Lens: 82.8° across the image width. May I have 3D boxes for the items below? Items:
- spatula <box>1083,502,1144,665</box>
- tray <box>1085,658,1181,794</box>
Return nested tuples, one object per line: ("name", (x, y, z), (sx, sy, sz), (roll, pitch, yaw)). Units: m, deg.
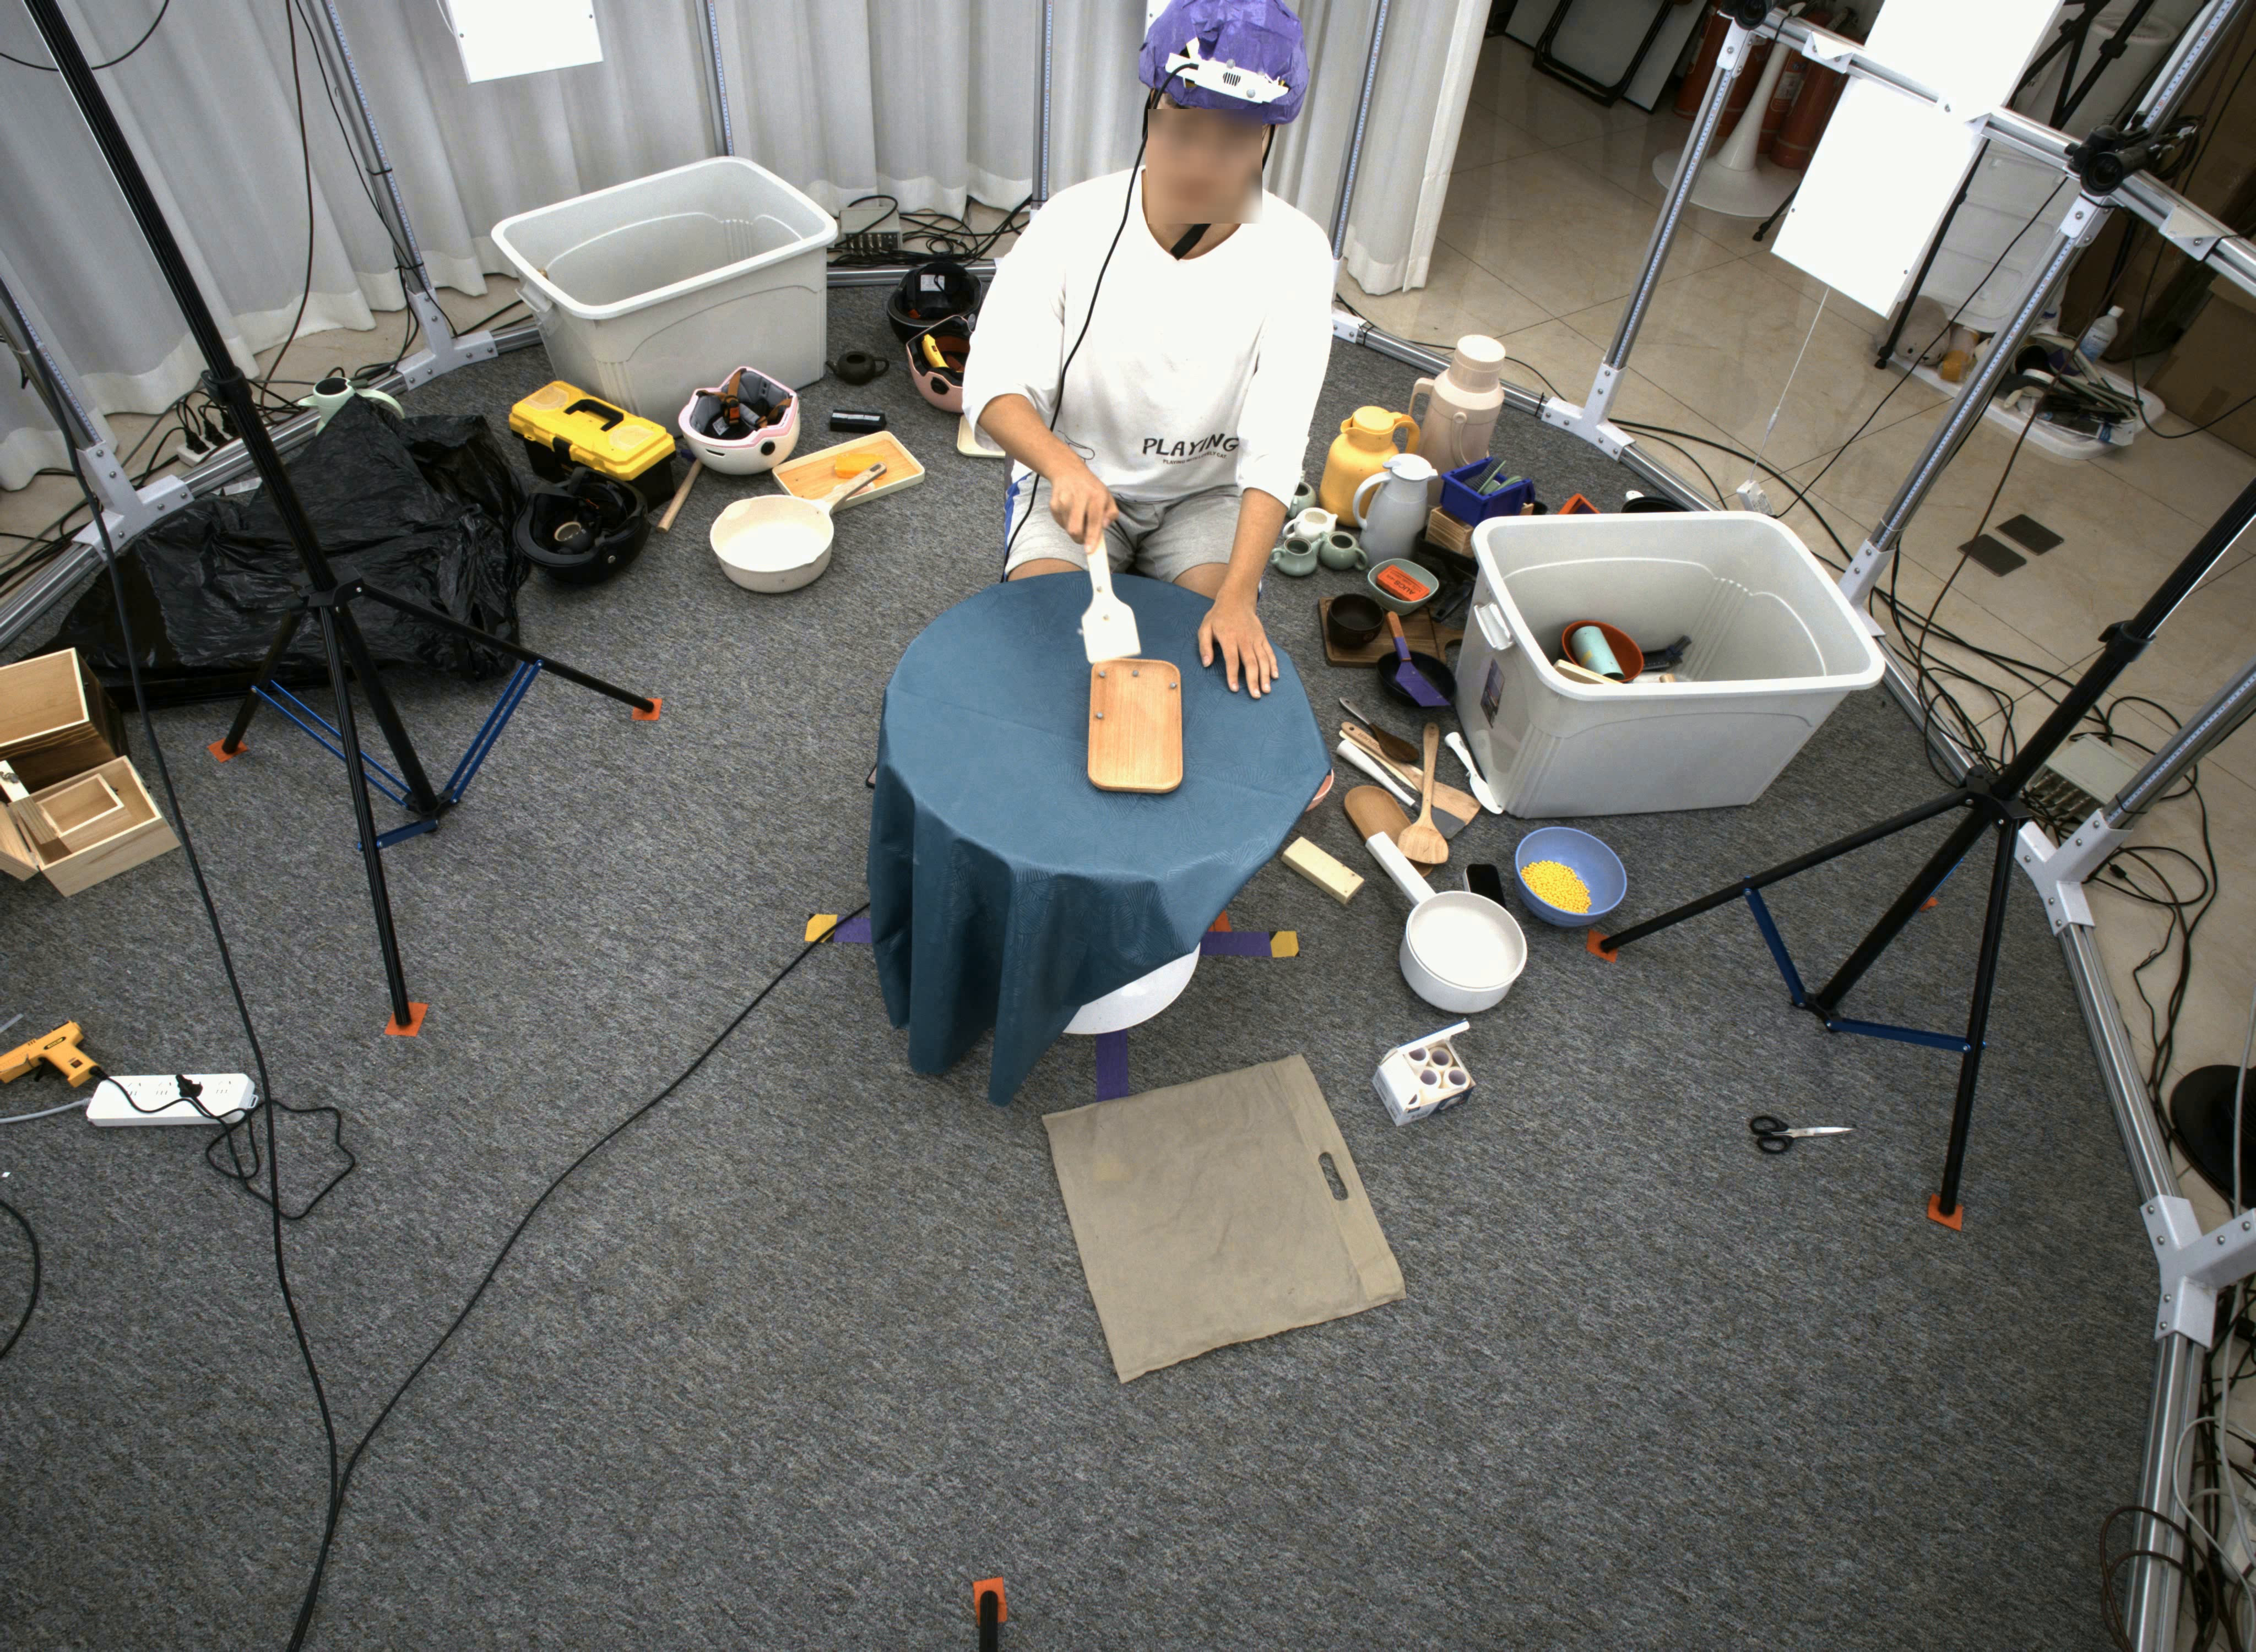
("spatula", (-0.033, -0.337, 1.757), (0.072, 0.010, 0.300), (-11, 57, 3))
("tray", (0.009, -0.142, 1.777), (0.130, 0.022, 0.257), (2, 49, 1))
